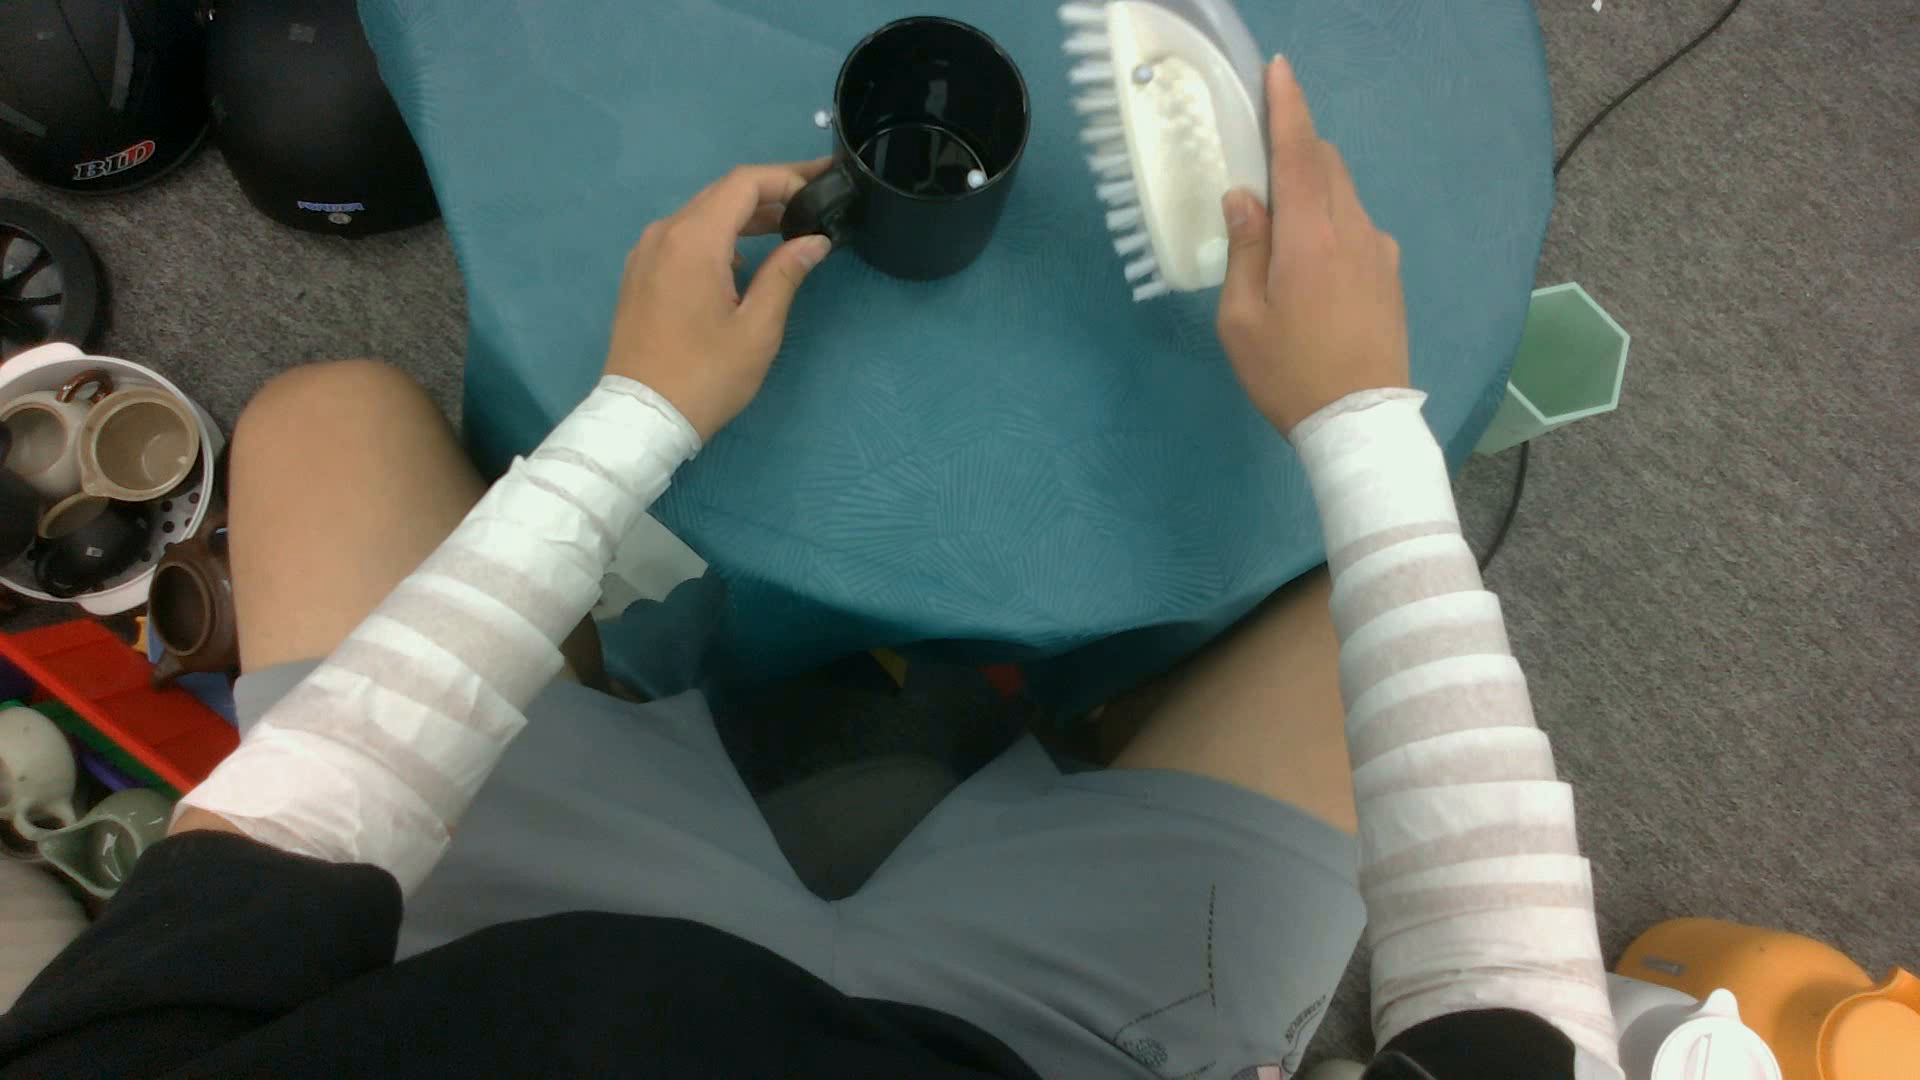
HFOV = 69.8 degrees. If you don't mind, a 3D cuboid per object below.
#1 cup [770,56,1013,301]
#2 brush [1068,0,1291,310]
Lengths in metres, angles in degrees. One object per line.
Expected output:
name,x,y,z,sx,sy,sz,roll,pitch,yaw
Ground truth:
cup,-0.039,-0.165,0.674,0.124,0.105,0.088,-34,88,-9
brush,0.105,-0.199,0.648,0.062,0.094,0.175,-28,109,-35
